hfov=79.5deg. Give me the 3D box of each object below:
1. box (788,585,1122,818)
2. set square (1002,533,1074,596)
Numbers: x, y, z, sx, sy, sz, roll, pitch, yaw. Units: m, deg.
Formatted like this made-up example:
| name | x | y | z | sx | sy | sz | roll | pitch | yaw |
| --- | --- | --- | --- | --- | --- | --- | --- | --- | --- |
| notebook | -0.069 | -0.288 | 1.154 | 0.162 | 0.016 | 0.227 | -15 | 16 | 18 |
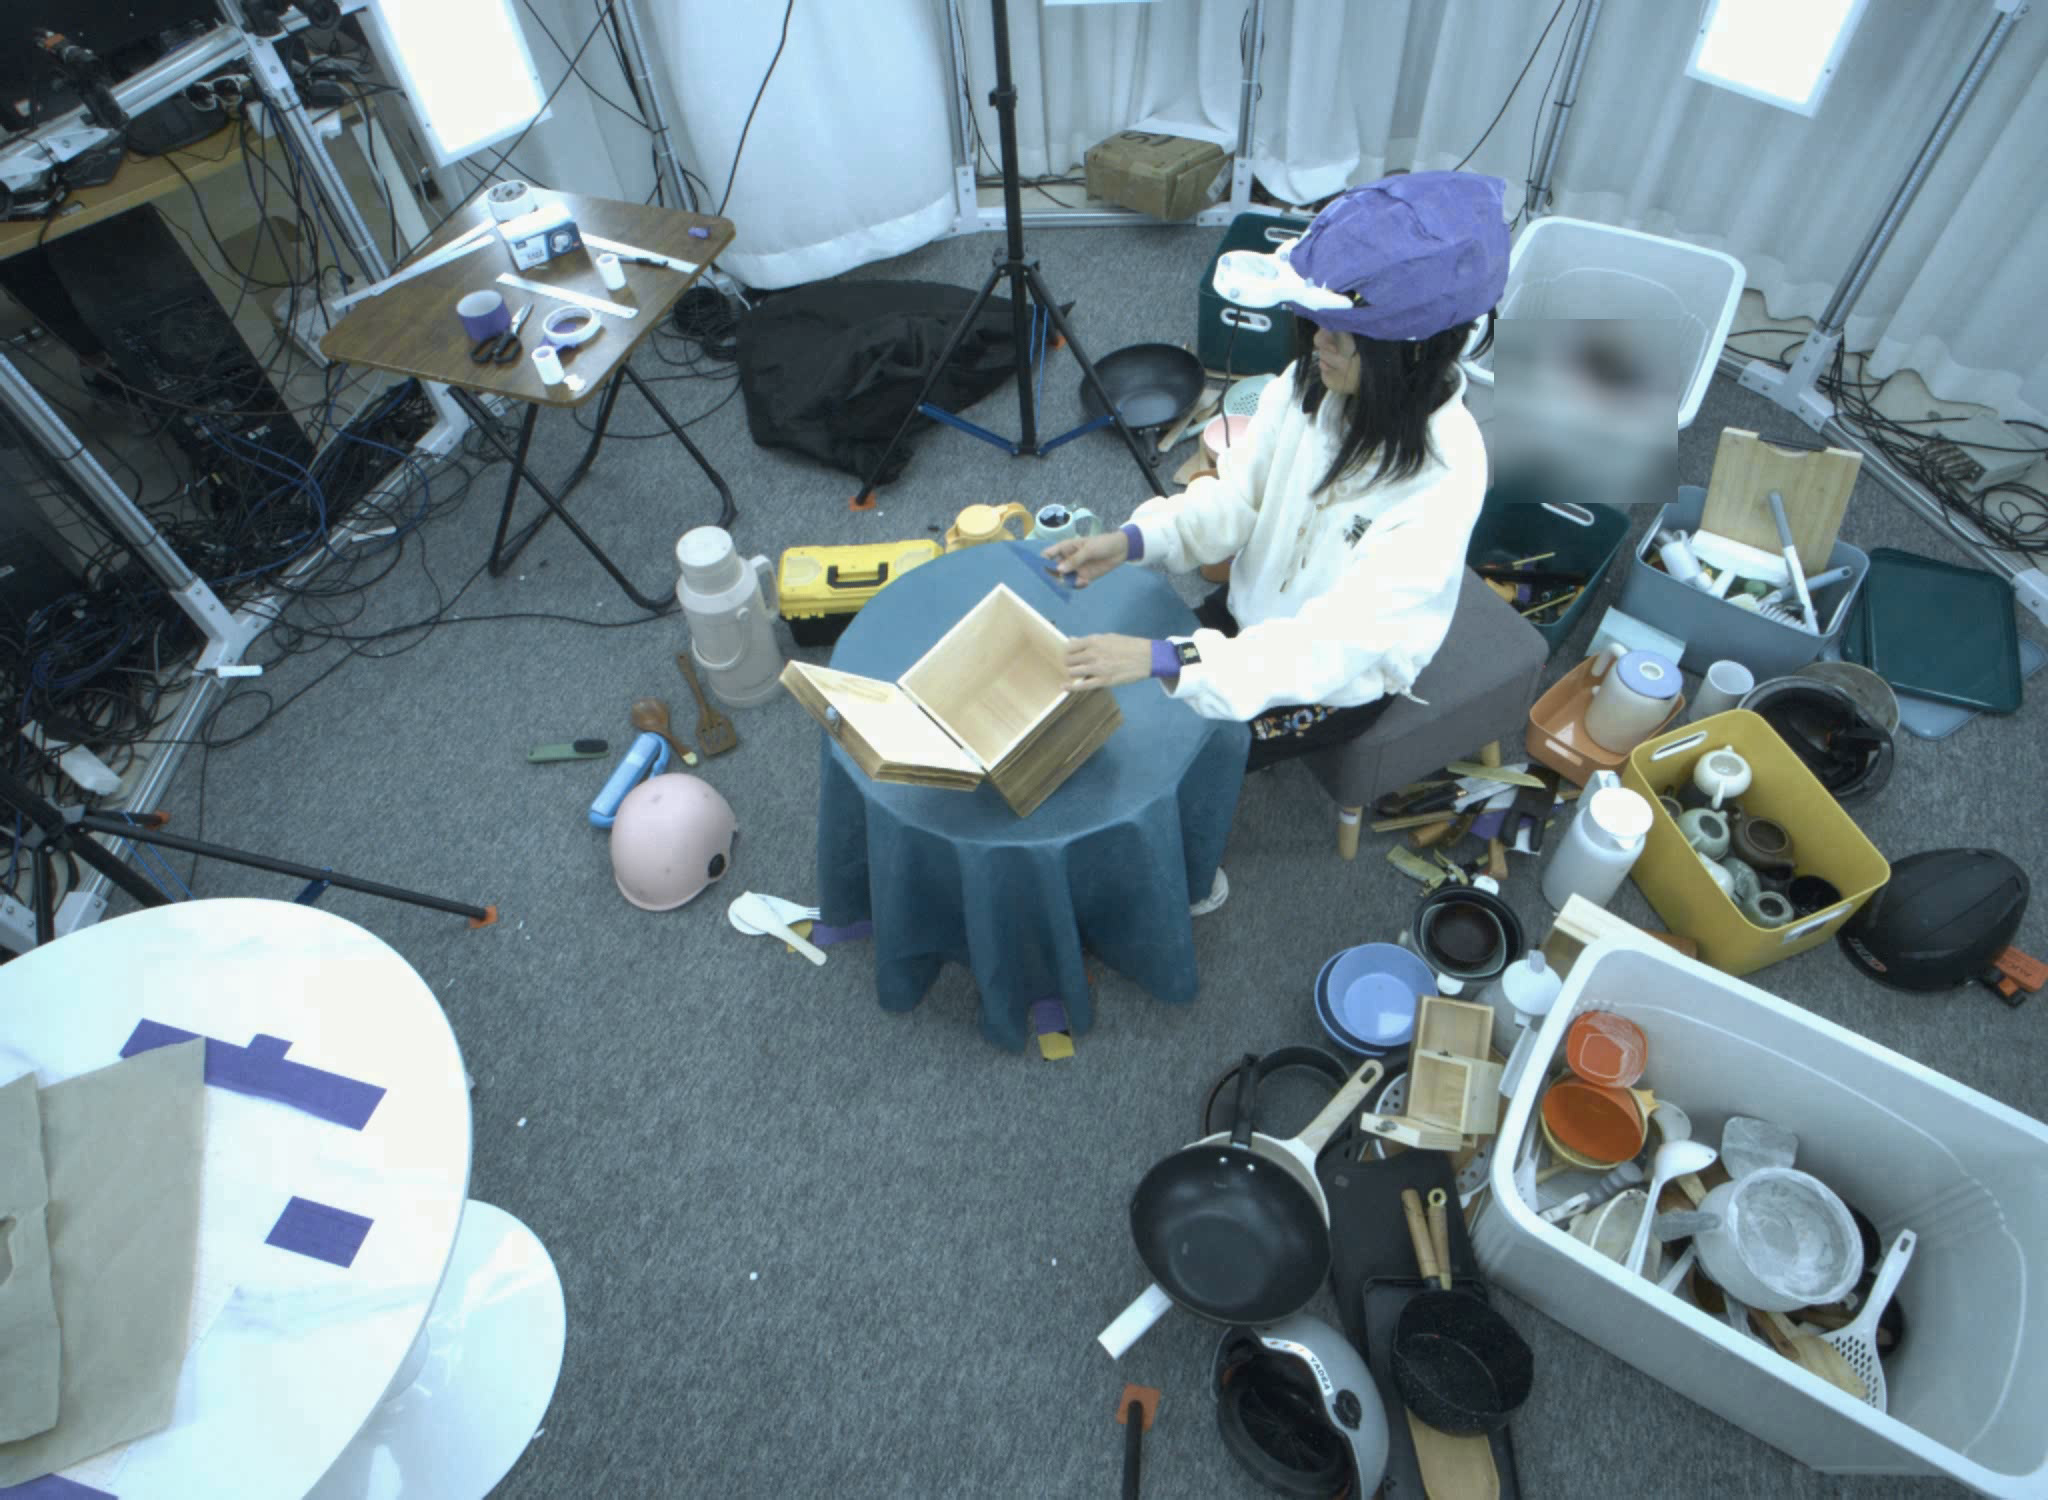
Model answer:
| name | x | y | z | sx | sy | sz | roll | pitch | yaw |
| --- | --- | --- | --- | --- | --- | --- | --- | --- | --- |
| box | -0.077 | -0.066 | 1.610 | 0.322 | 0.382 | 0.205 | -45 | 62 | -5 |
| set square | 0.027 | -0.275 | 1.762 | 0.130 | 0.006 | 0.062 | 46 | 49 | 14 |
